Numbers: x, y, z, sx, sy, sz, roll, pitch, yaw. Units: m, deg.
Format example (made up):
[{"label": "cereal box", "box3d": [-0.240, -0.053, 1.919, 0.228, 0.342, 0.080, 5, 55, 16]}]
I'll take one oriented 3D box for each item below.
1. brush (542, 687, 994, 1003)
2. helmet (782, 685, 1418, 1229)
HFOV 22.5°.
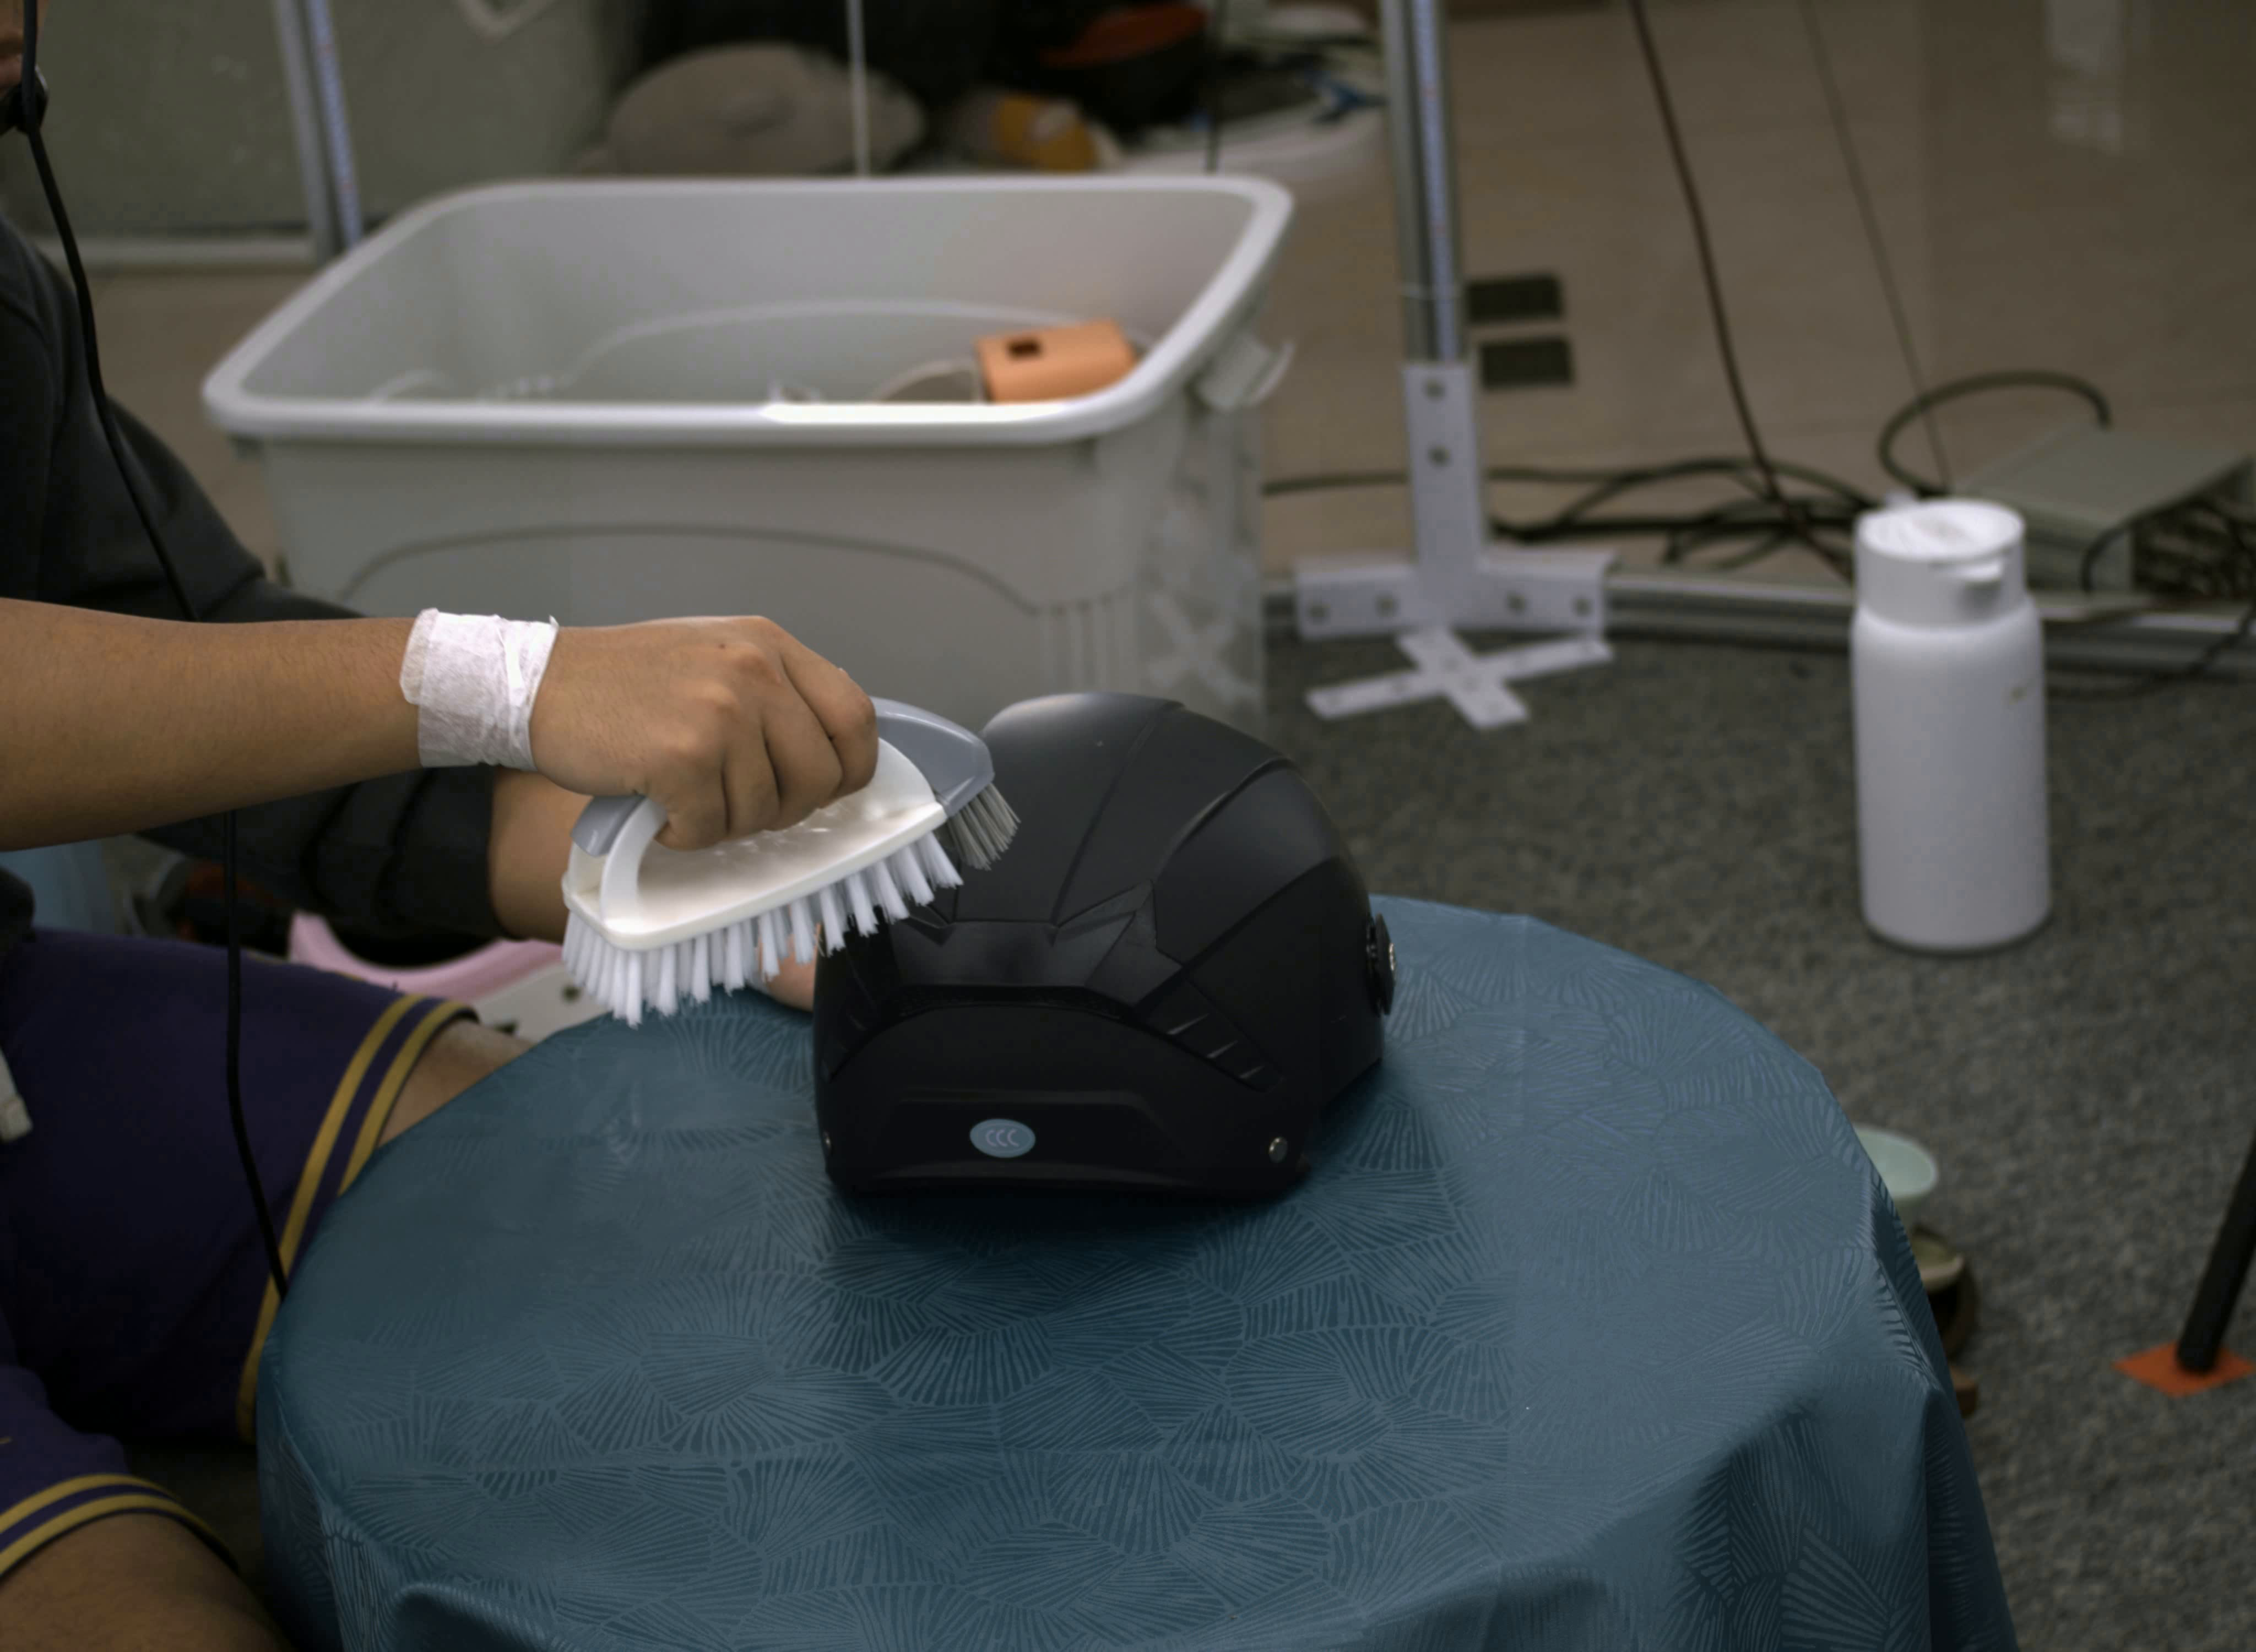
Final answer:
[{"label": "brush", "box3d": [-0.122, -0.007, 1.987, 0.174, 0.096, 0.060, -18, 37, -27]}, {"label": "helmet", "box3d": [-0.014, 0.034, 2.184, 0.246, 0.175, 0.272, 2, 31, 15]}]
